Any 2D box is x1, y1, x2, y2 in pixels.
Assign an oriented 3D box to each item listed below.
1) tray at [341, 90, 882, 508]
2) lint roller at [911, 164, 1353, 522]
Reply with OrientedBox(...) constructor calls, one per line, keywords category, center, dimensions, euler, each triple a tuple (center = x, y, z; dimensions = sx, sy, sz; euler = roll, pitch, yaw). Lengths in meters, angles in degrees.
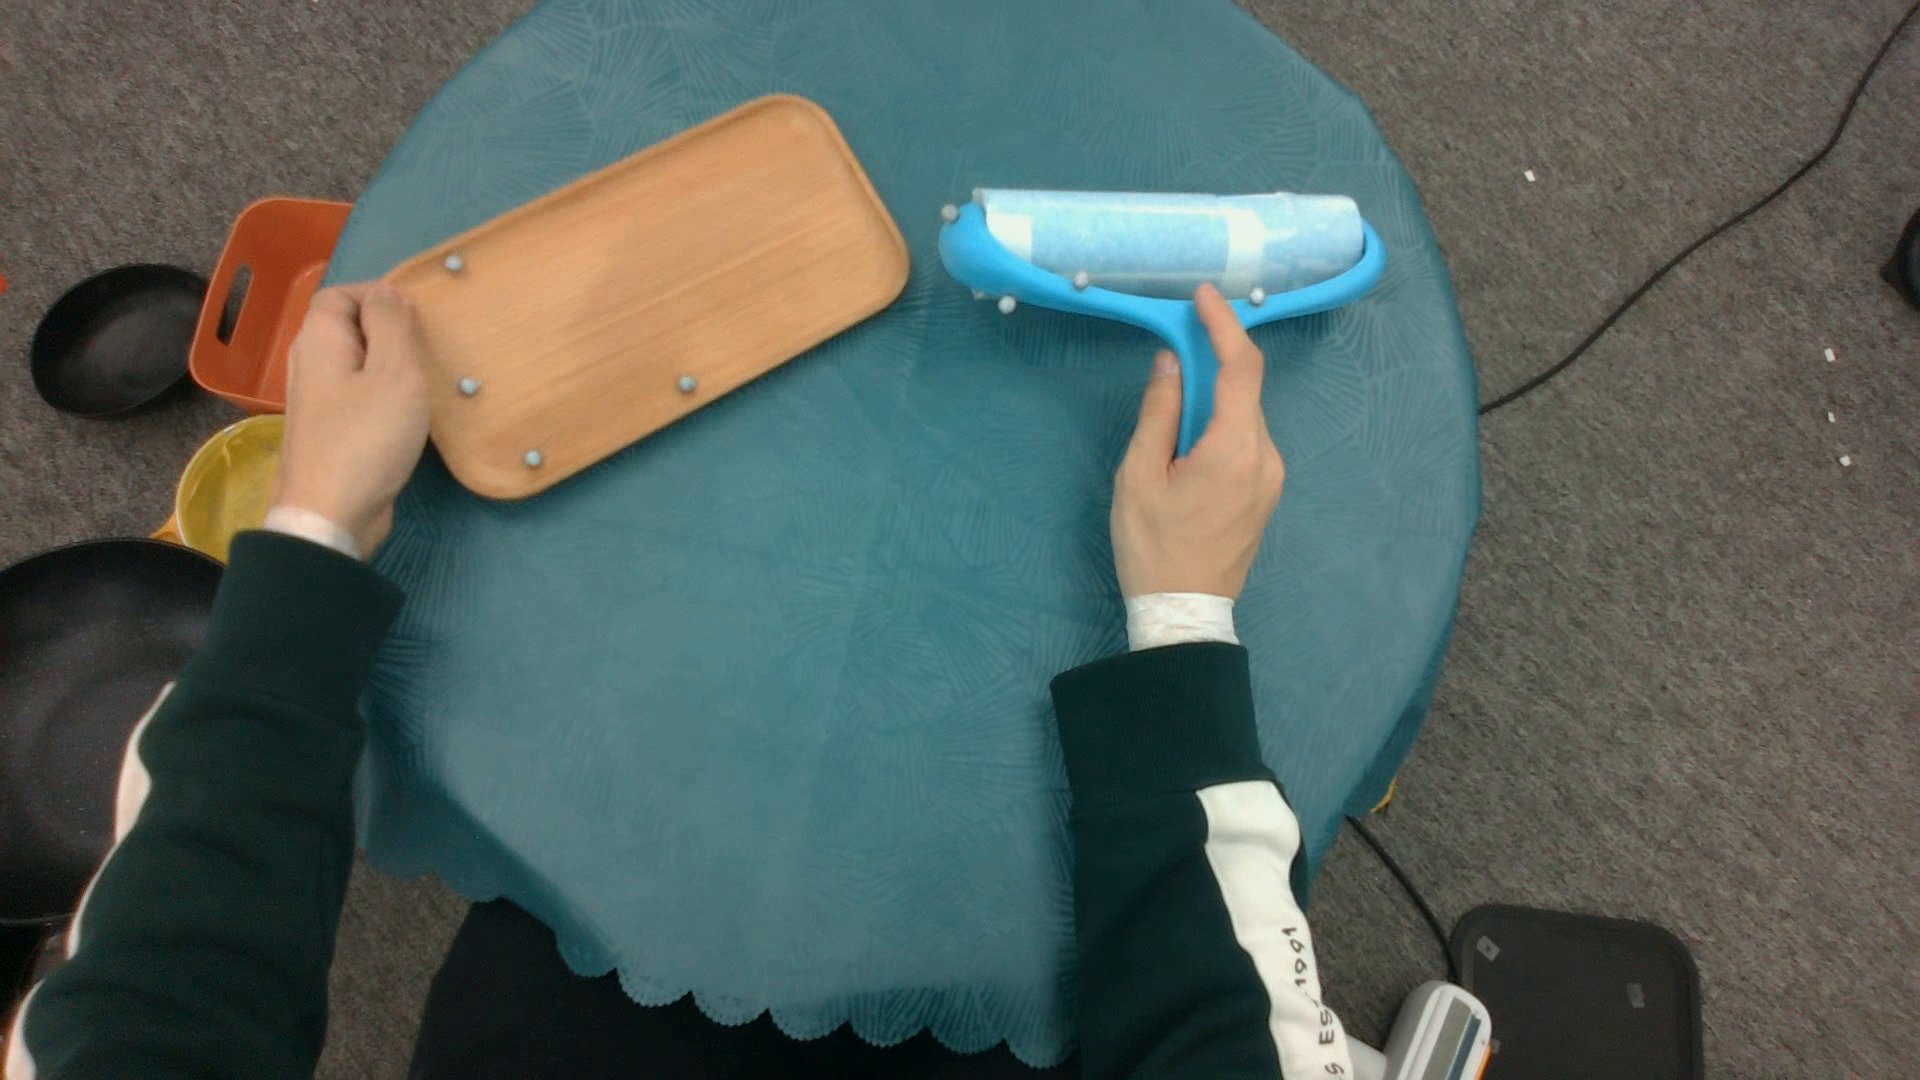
OrientedBox(category="tray", center=(-0.167, -0.123, 0.683), dimensions=(0.251, 0.023, 0.130), euler=(-32, 92, -16))
OrientedBox(category="lint roller", center=(0.098, -0.104, 0.672), dimensions=(0.229, 0.067, 0.180), euler=(-6, 75, -18))
